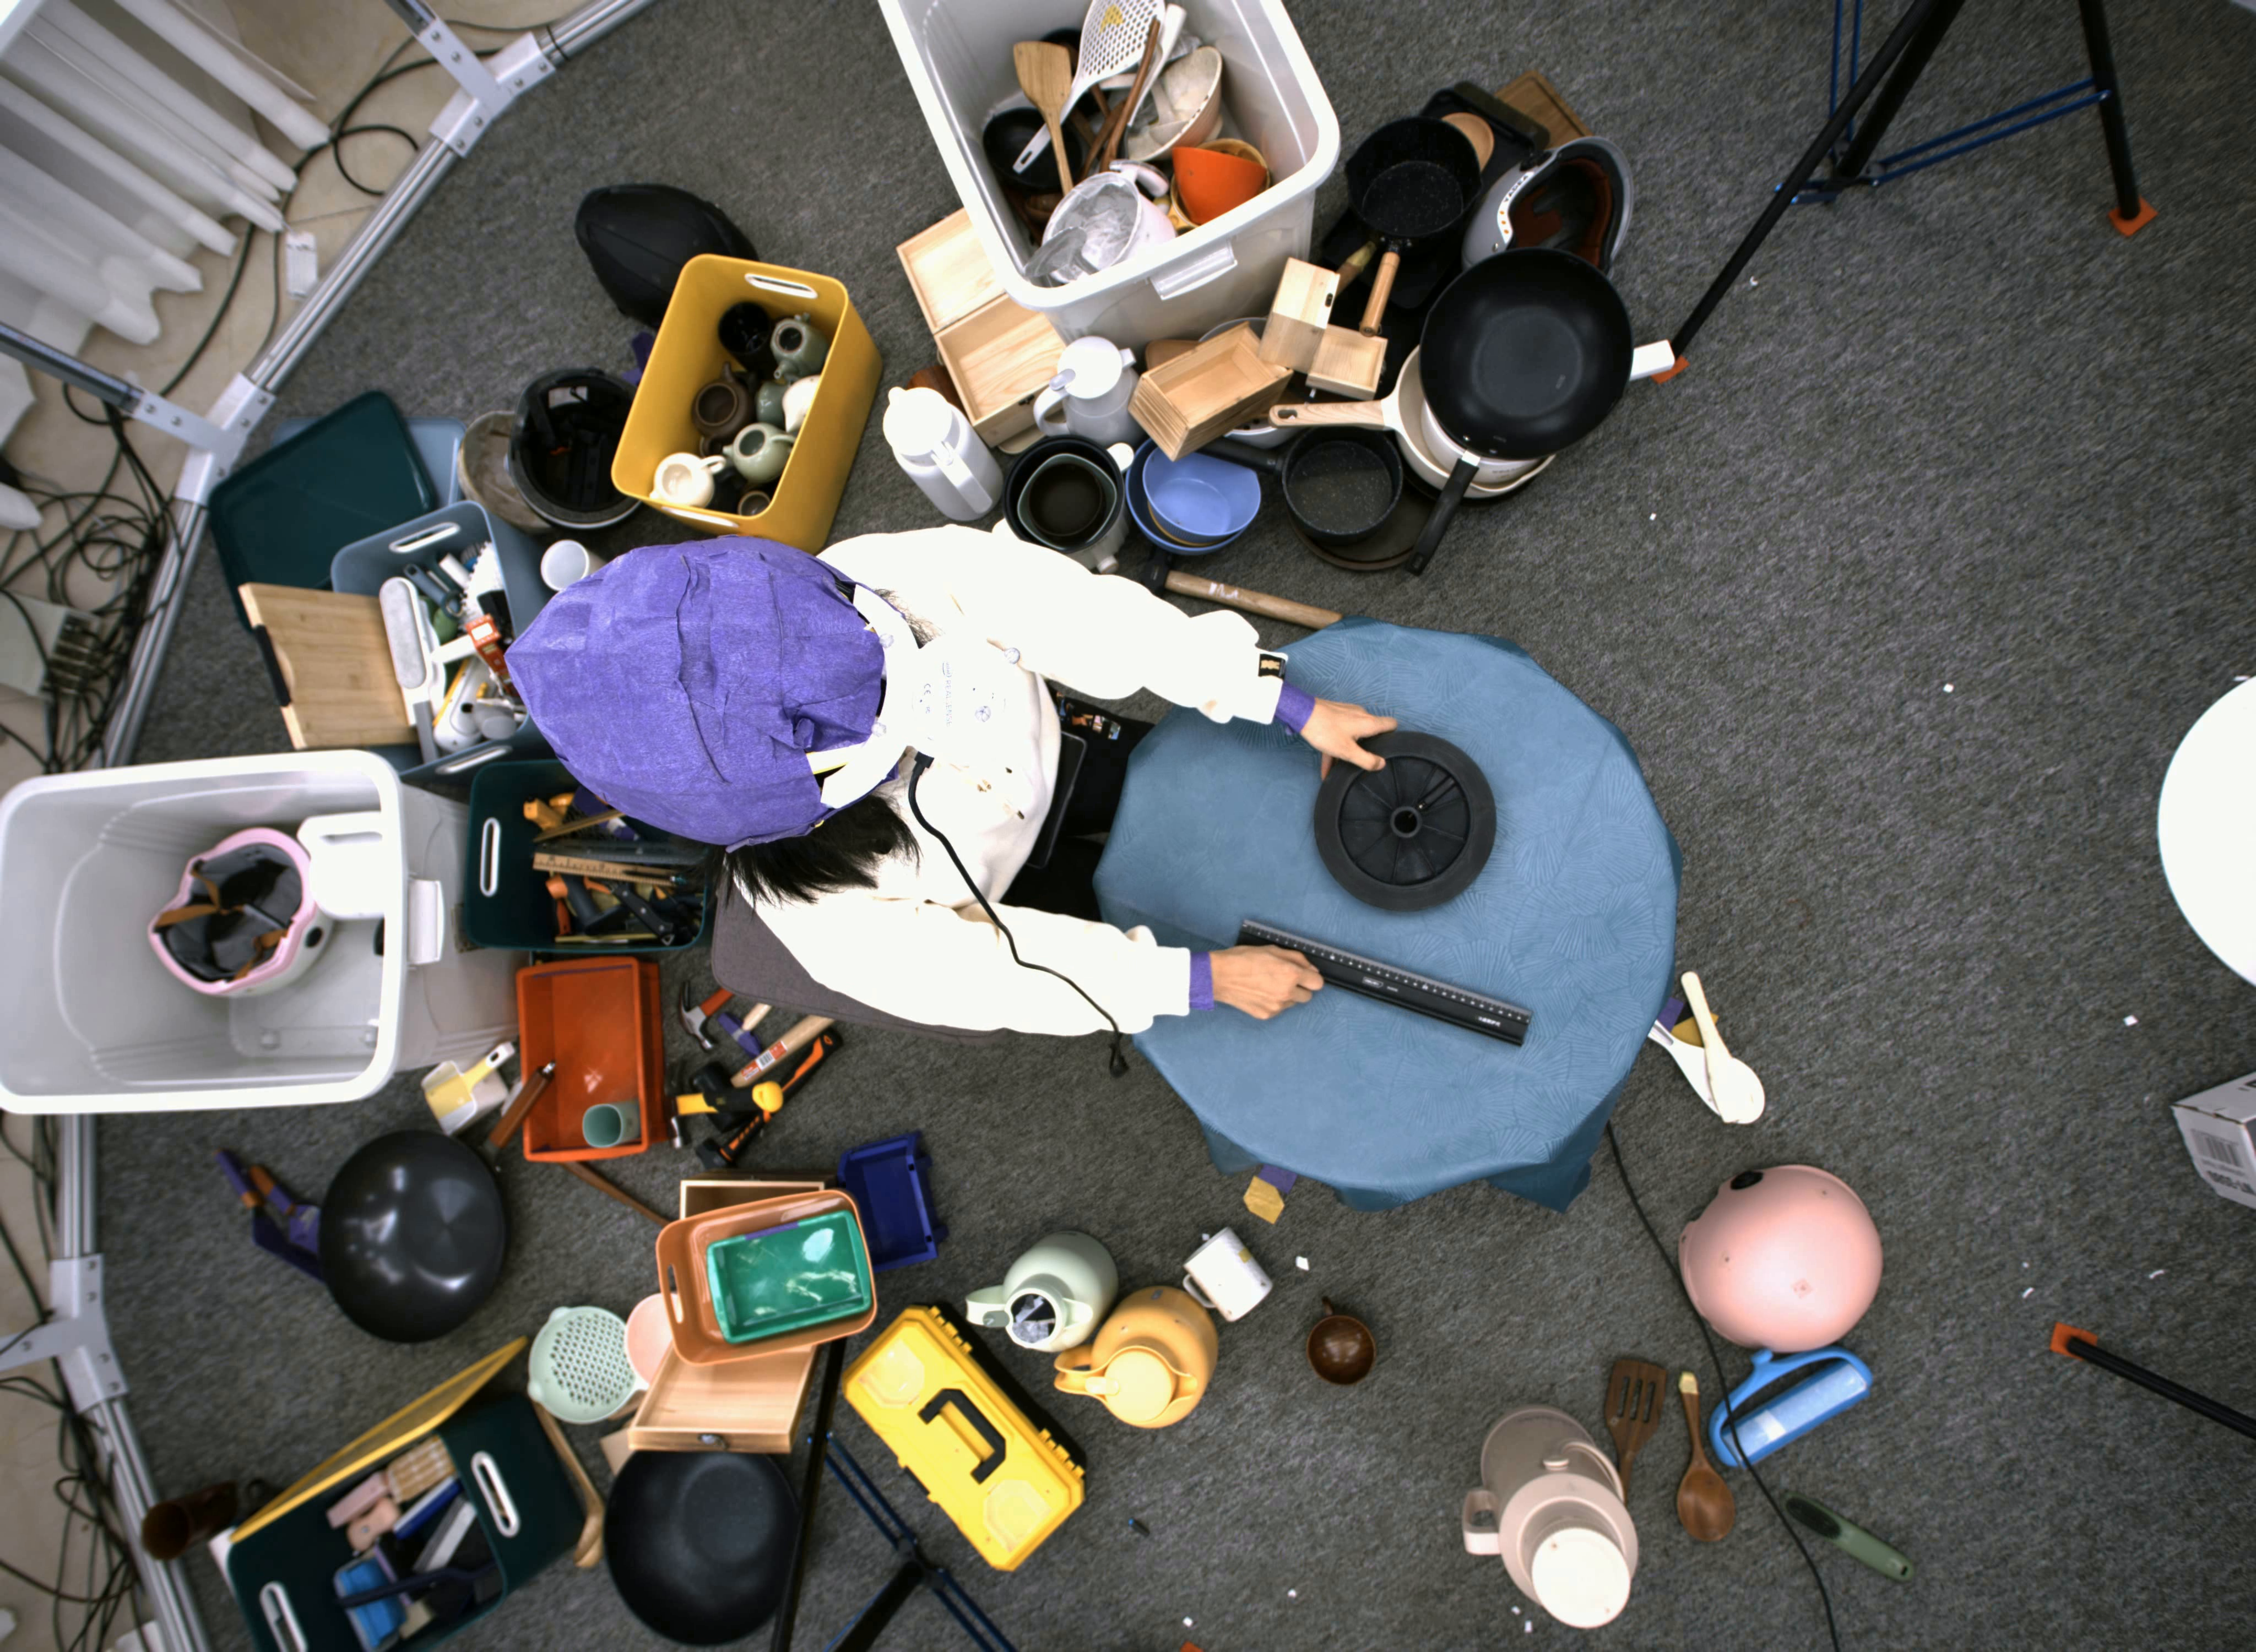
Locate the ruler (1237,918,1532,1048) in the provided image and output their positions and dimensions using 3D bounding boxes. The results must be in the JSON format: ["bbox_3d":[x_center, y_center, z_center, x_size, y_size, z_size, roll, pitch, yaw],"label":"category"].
[{"bbox_3d":[0.265,0.162,1.439,0.313,0.017,0.039,18,96,10],"label":"ruler"}]

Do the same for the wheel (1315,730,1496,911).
[{"bbox_3d":[0.286,-0.007,1.418,0.187,0.079,0.191,28,97,8],"label":"wheel"}]
